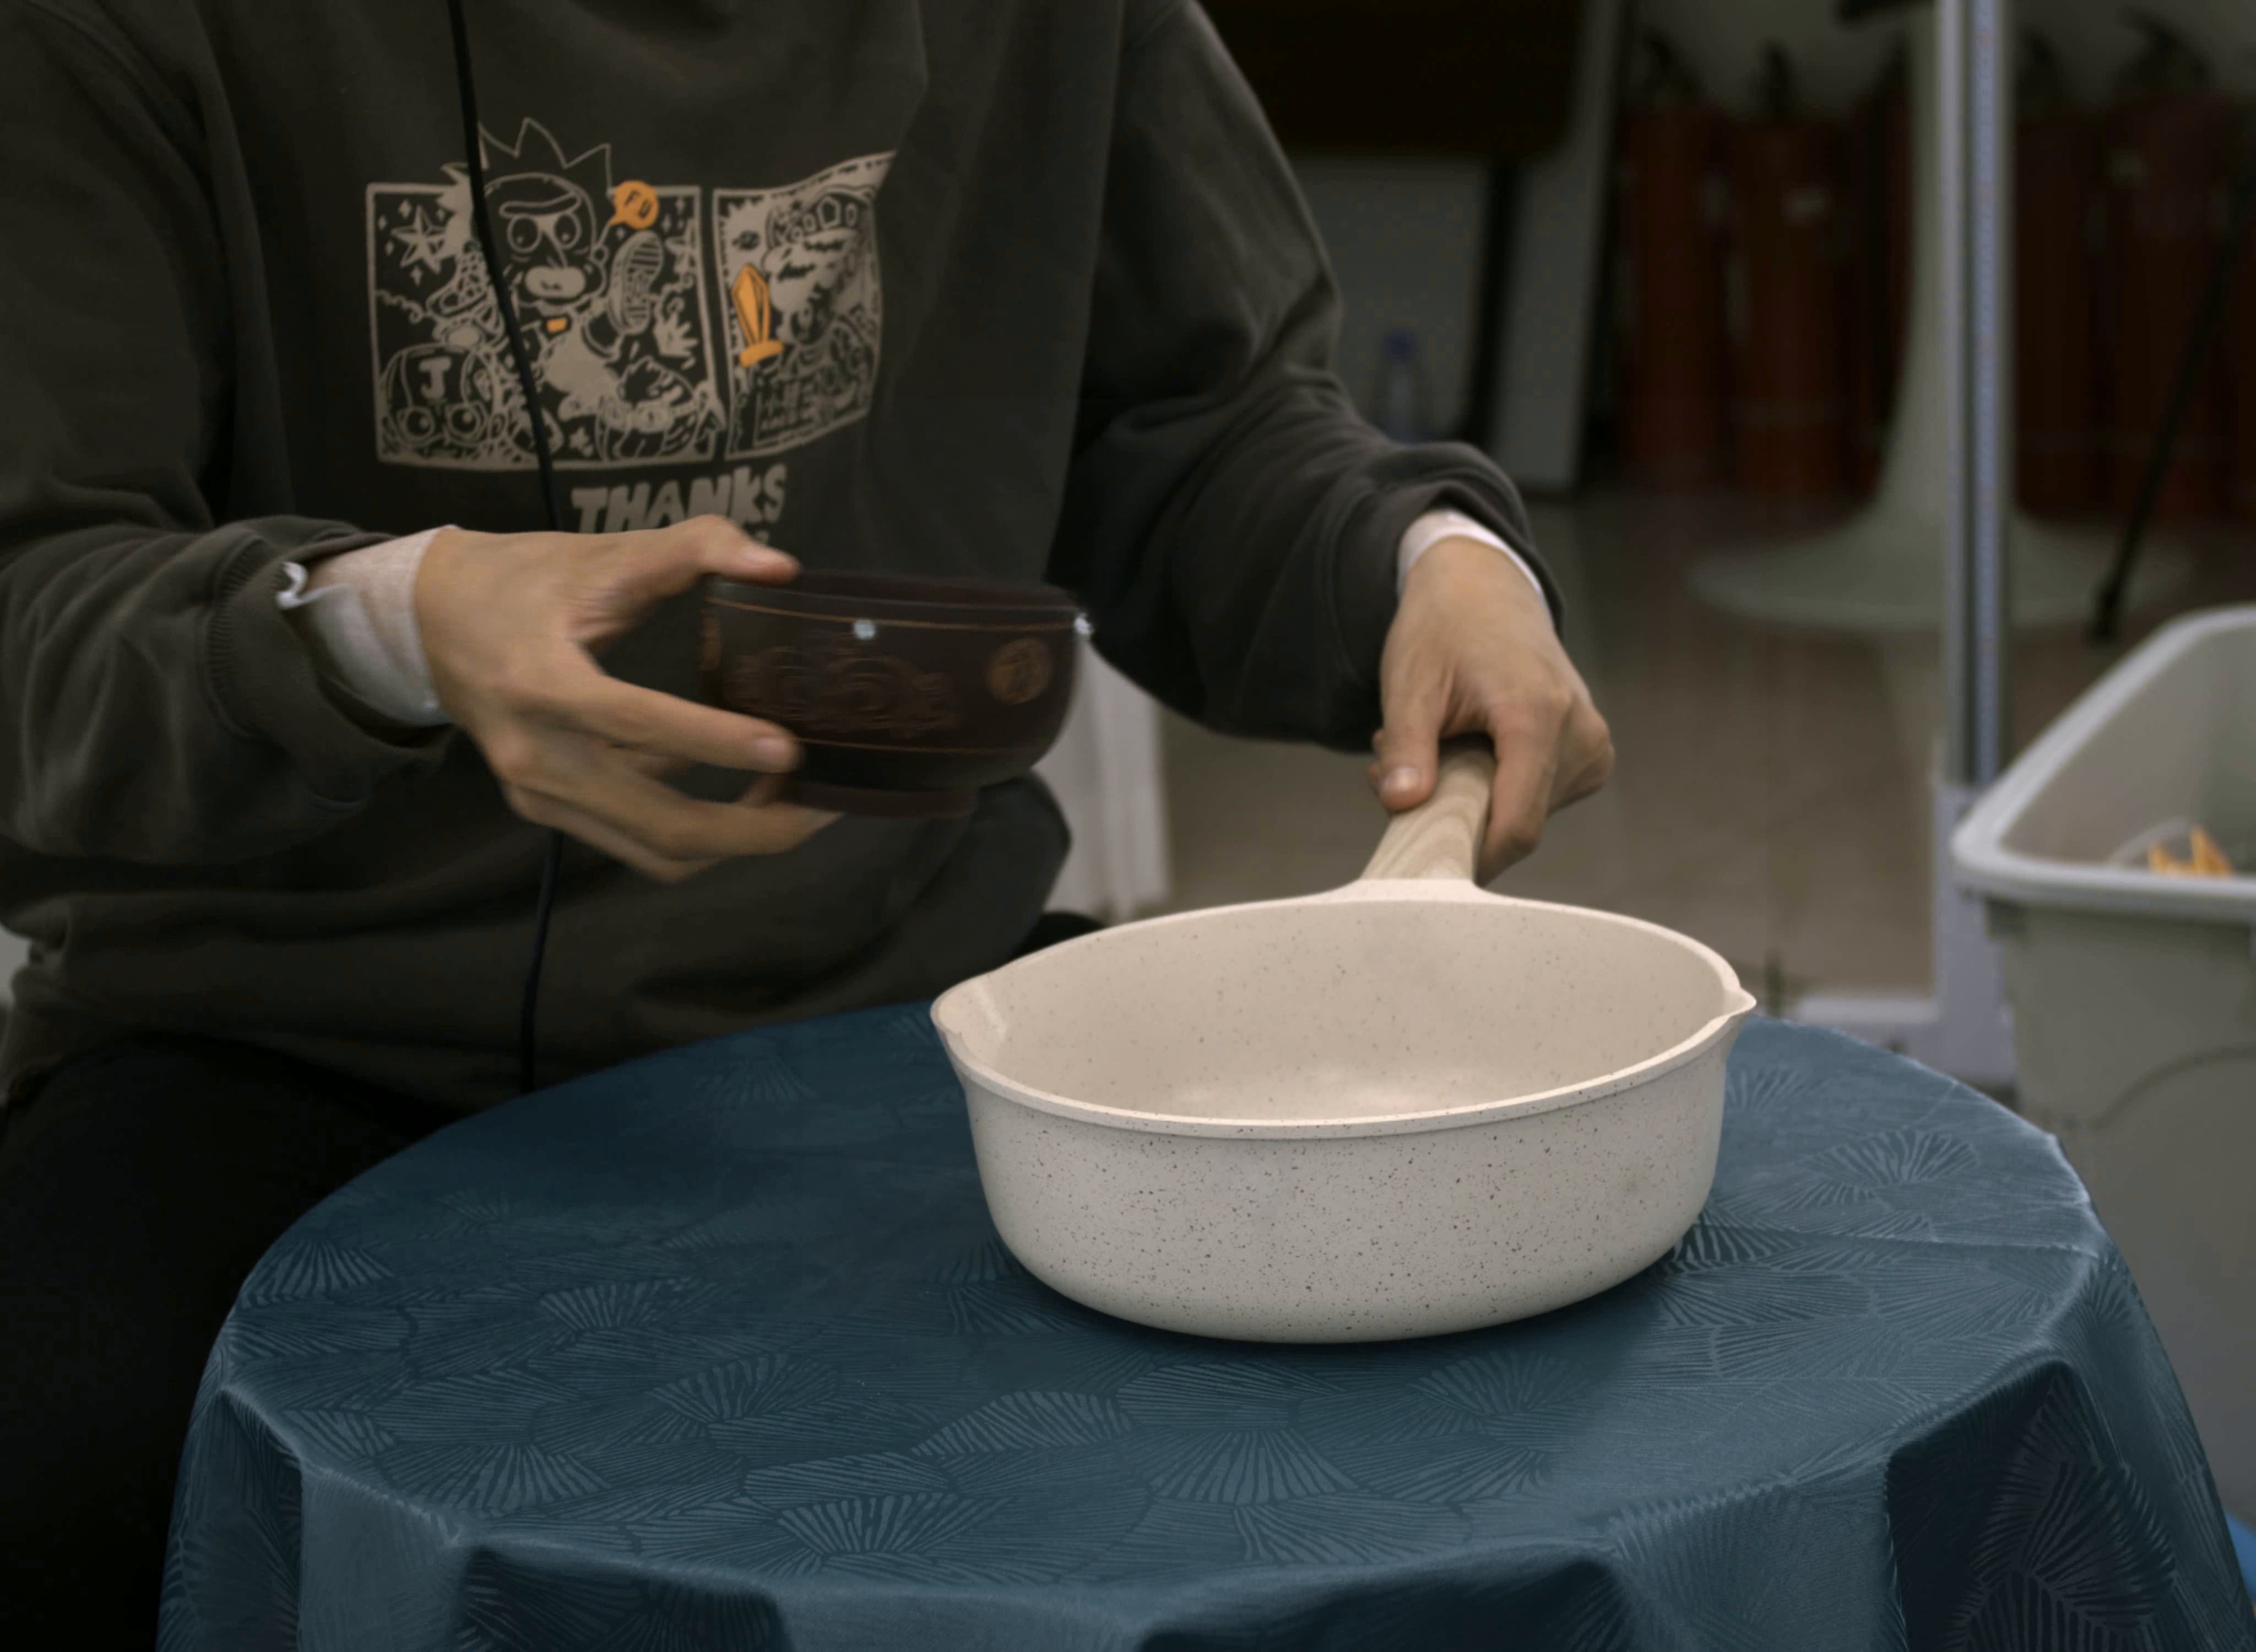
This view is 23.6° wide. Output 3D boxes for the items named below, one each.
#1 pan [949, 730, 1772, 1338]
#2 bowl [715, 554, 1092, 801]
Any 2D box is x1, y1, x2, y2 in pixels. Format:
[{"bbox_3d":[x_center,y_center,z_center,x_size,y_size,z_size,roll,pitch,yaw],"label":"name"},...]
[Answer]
[{"bbox_3d":[0.092,0.065,1.776,0.262,0.103,0.432,-3,13,13],"label":"pan"},{"bbox_3d":[-0.069,-0.045,1.658,0.116,0.071,0.118,1,6,-1],"label":"bowl"}]
